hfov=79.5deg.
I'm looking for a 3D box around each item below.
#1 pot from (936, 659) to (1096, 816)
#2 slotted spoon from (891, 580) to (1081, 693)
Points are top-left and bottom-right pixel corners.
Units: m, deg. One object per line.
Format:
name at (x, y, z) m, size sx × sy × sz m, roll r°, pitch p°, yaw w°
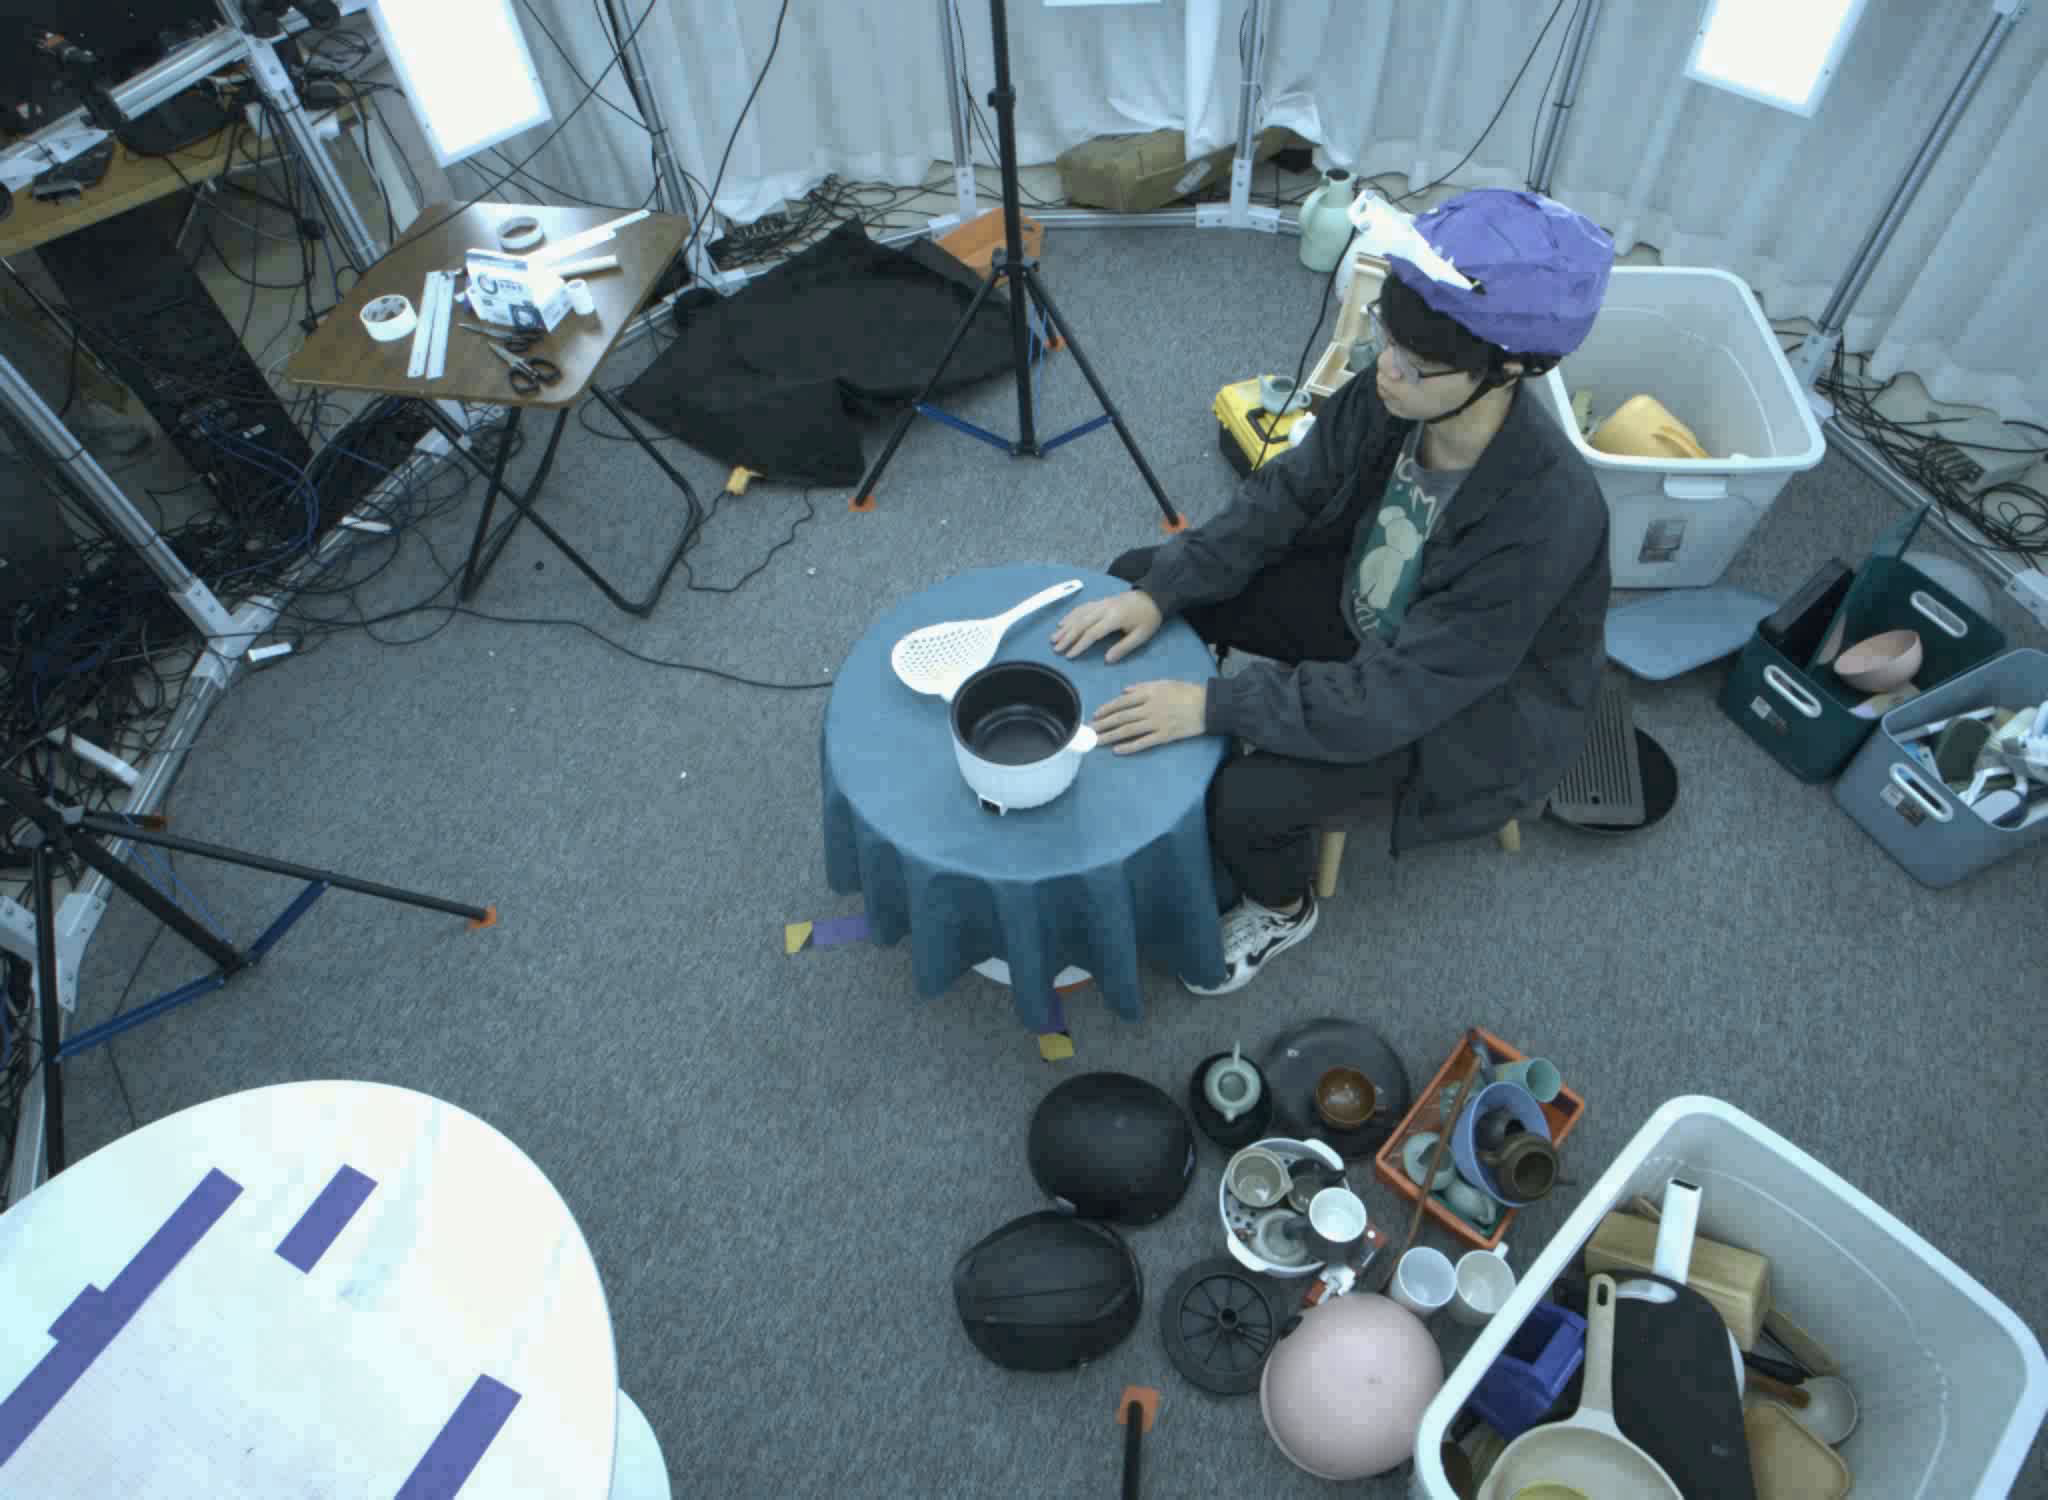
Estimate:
pot at (-0.008, -0.019, 1.708) m, size 0.237 × 0.144 × 0.191 m, roll 23°, pitch 61°, yaw 16°
slotted spoon at (-0.044, -0.186, 1.888) m, size 0.350 × 0.051 × 0.134 m, roll -35°, pitch 58°, yaw -20°
